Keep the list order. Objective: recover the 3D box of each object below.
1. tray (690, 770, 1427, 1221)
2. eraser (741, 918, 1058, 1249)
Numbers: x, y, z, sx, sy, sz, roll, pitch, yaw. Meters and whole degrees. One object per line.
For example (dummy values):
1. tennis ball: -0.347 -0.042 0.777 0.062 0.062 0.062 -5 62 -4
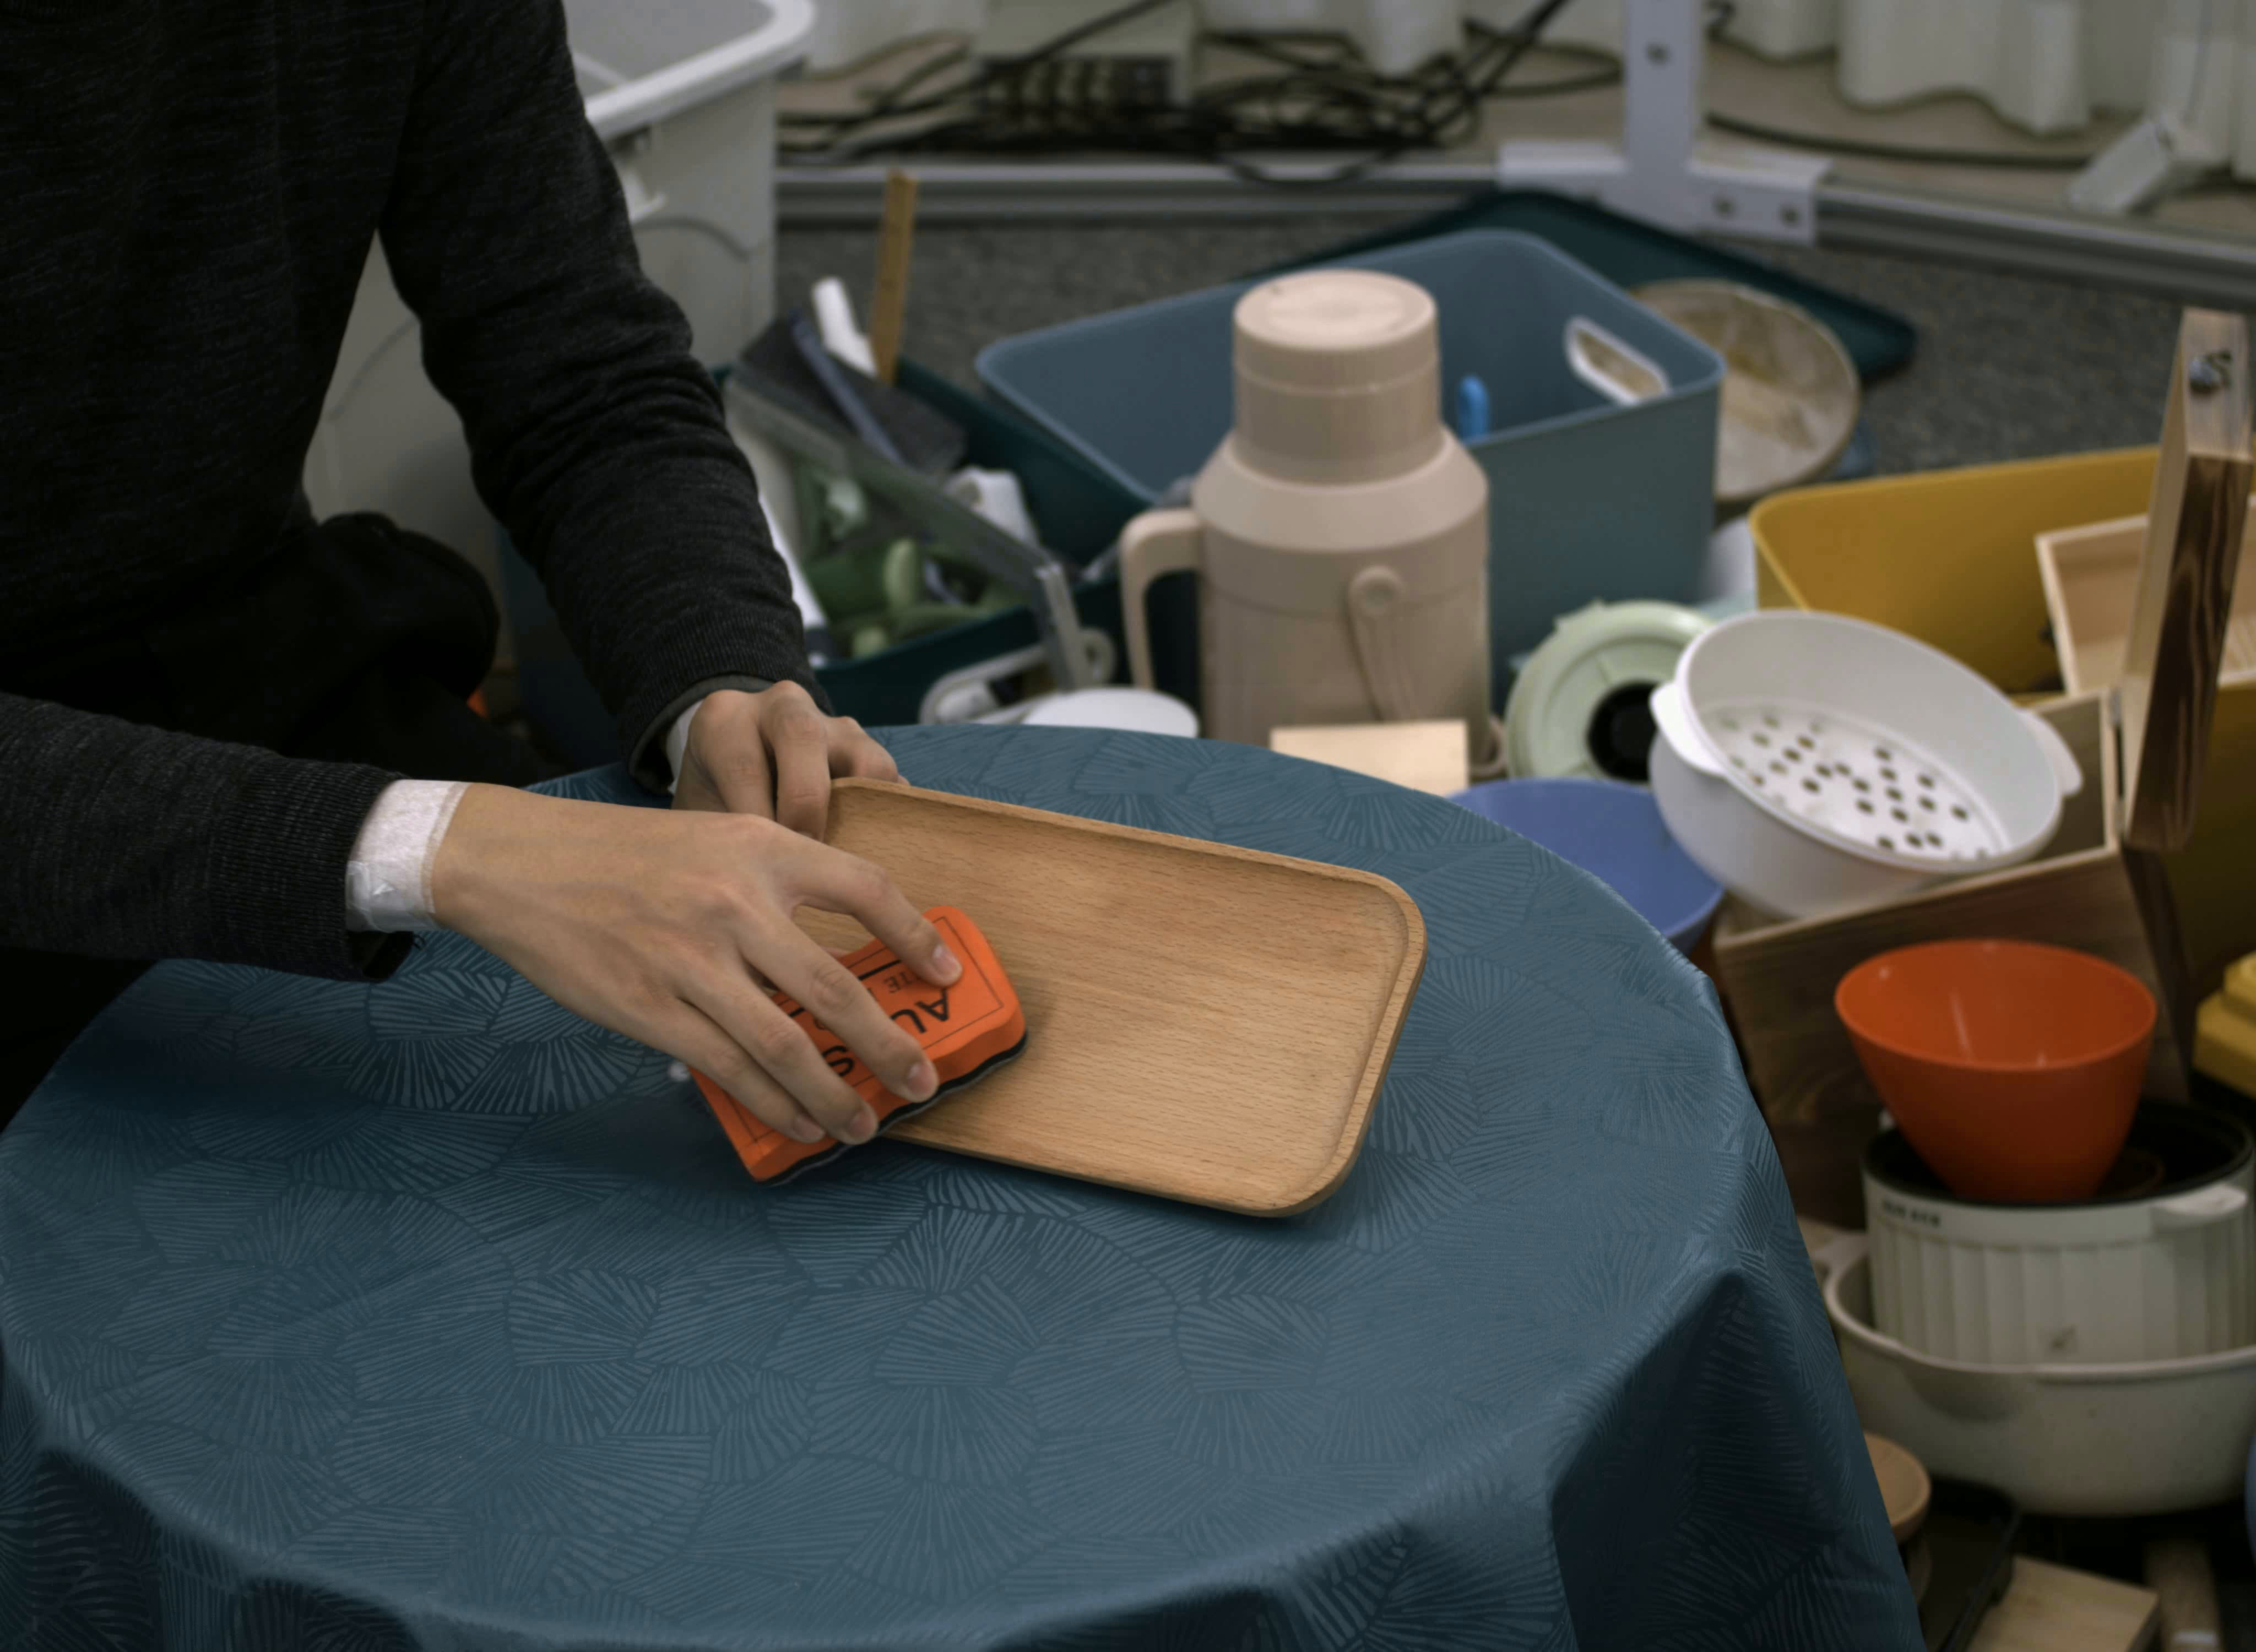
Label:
1. tray: -0.025 0.057 1.901 0.249 0.022 0.133 11 63 25
2. eraser: -0.077 0.086 1.880 0.059 0.022 0.109 30 71 31
